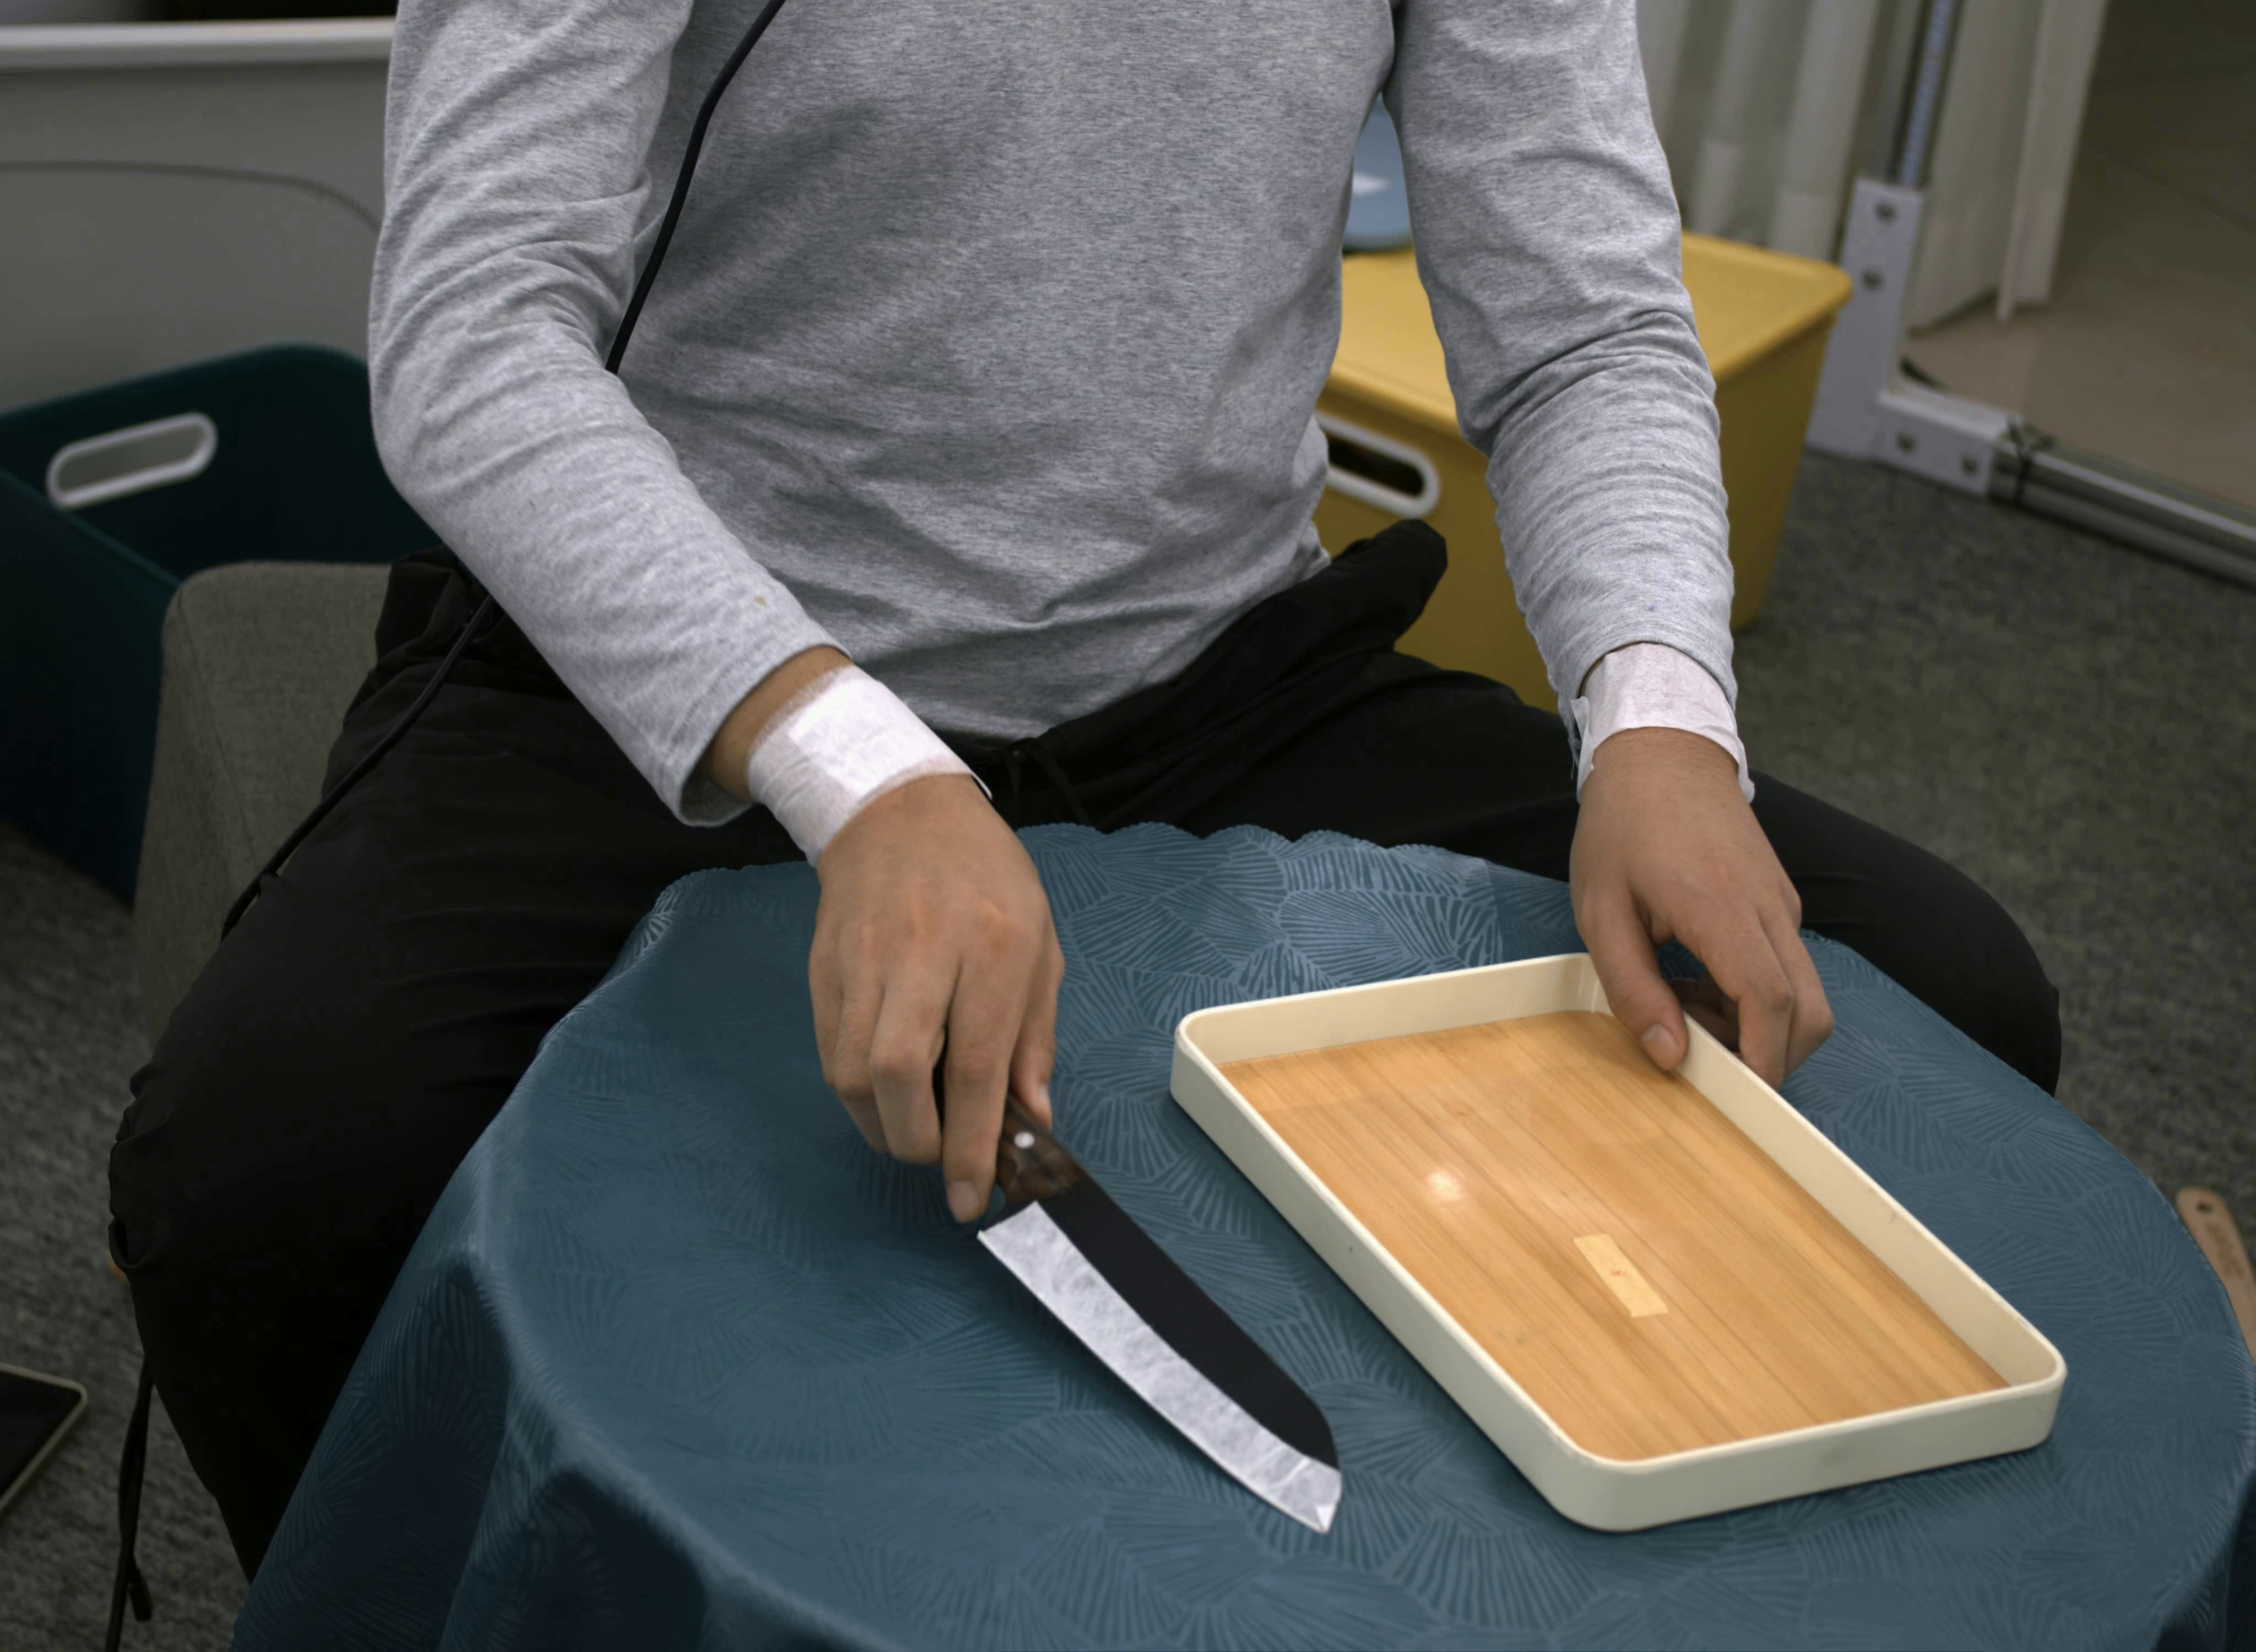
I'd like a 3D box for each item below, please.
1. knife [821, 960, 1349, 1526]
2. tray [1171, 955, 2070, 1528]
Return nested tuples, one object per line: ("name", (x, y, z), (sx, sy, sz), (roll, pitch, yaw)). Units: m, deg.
("knife", (-0.016, 0.133, 1.724), (0.050, 0.020, 0.292), (-29, 49, -20))
("tray", (0.159, 0.133, 1.794), (0.190, 0.027, 0.303), (-7, 30, -26))
